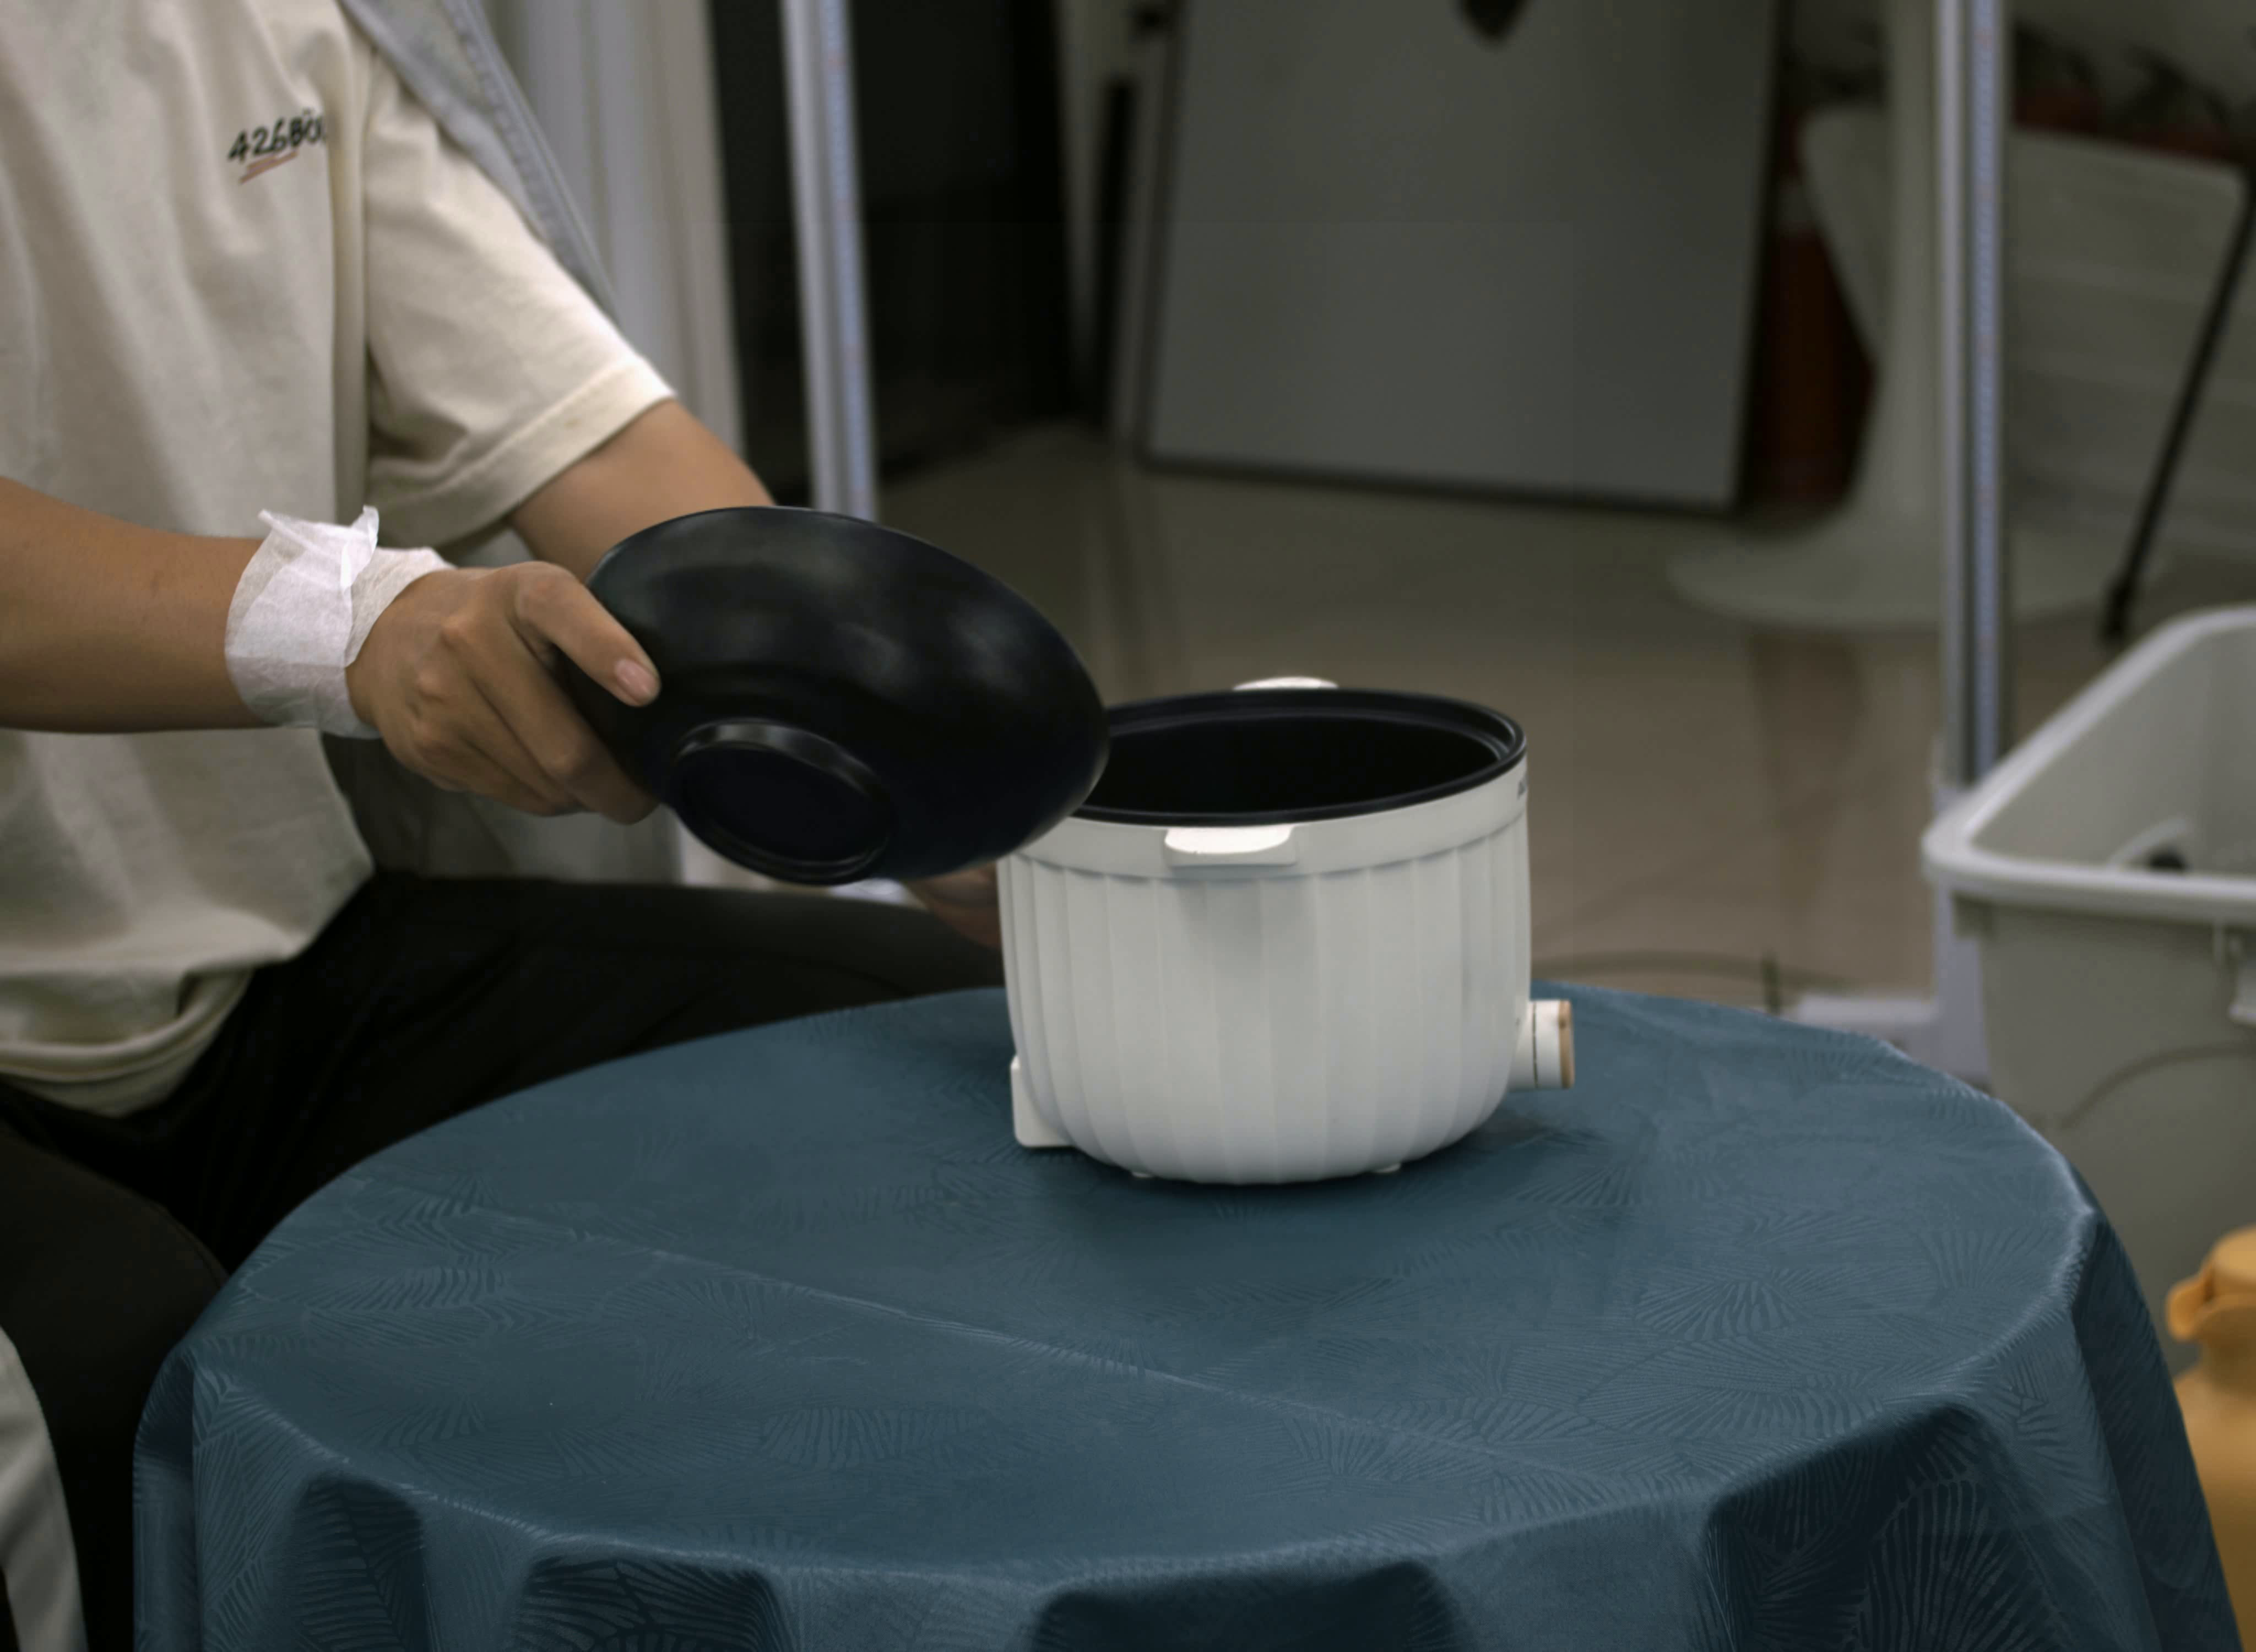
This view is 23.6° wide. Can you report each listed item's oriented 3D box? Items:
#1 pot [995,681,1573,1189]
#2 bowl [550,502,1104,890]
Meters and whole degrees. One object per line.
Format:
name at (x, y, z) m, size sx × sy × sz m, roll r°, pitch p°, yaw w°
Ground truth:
pot at (0.052, 0.038, 1.808) m, size 0.189 × 0.144 × 0.240 m, roll -5°, pitch 14°, yaw 8°
bowl at (-0.094, -0.028, 1.590) m, size 0.169 × 0.138 × 0.067 m, roll 16°, pitch 54°, yaw 5°
